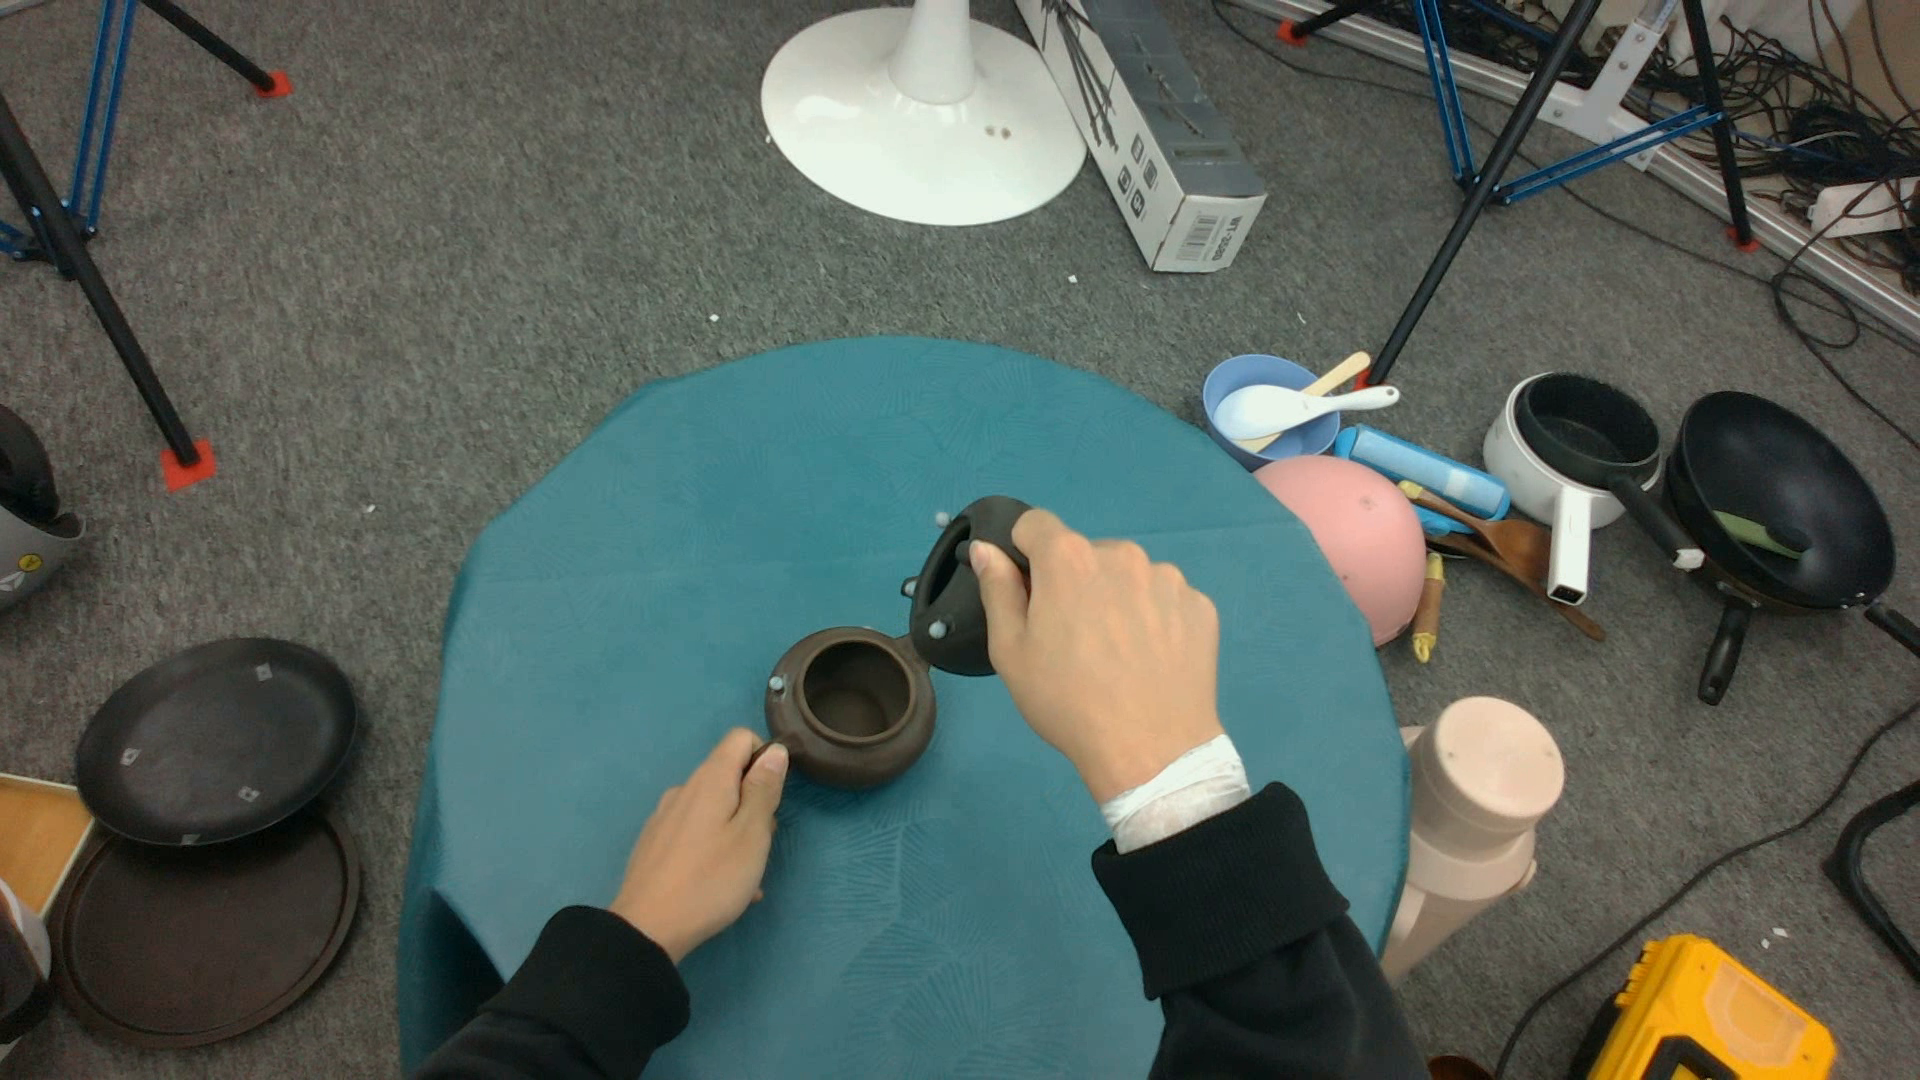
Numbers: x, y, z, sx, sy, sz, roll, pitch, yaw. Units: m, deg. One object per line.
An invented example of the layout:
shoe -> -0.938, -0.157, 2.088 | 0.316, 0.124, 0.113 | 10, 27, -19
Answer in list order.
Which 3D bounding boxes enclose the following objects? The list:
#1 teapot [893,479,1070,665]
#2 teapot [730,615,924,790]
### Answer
teapot -> 0.010, 0.016, 0.669 | 0.064, 0.154, 0.092 | 26, 75, -17
teapot -> -0.075, 0.095, 0.808 | 0.102, 0.053, 0.154 | 38, 53, 15
